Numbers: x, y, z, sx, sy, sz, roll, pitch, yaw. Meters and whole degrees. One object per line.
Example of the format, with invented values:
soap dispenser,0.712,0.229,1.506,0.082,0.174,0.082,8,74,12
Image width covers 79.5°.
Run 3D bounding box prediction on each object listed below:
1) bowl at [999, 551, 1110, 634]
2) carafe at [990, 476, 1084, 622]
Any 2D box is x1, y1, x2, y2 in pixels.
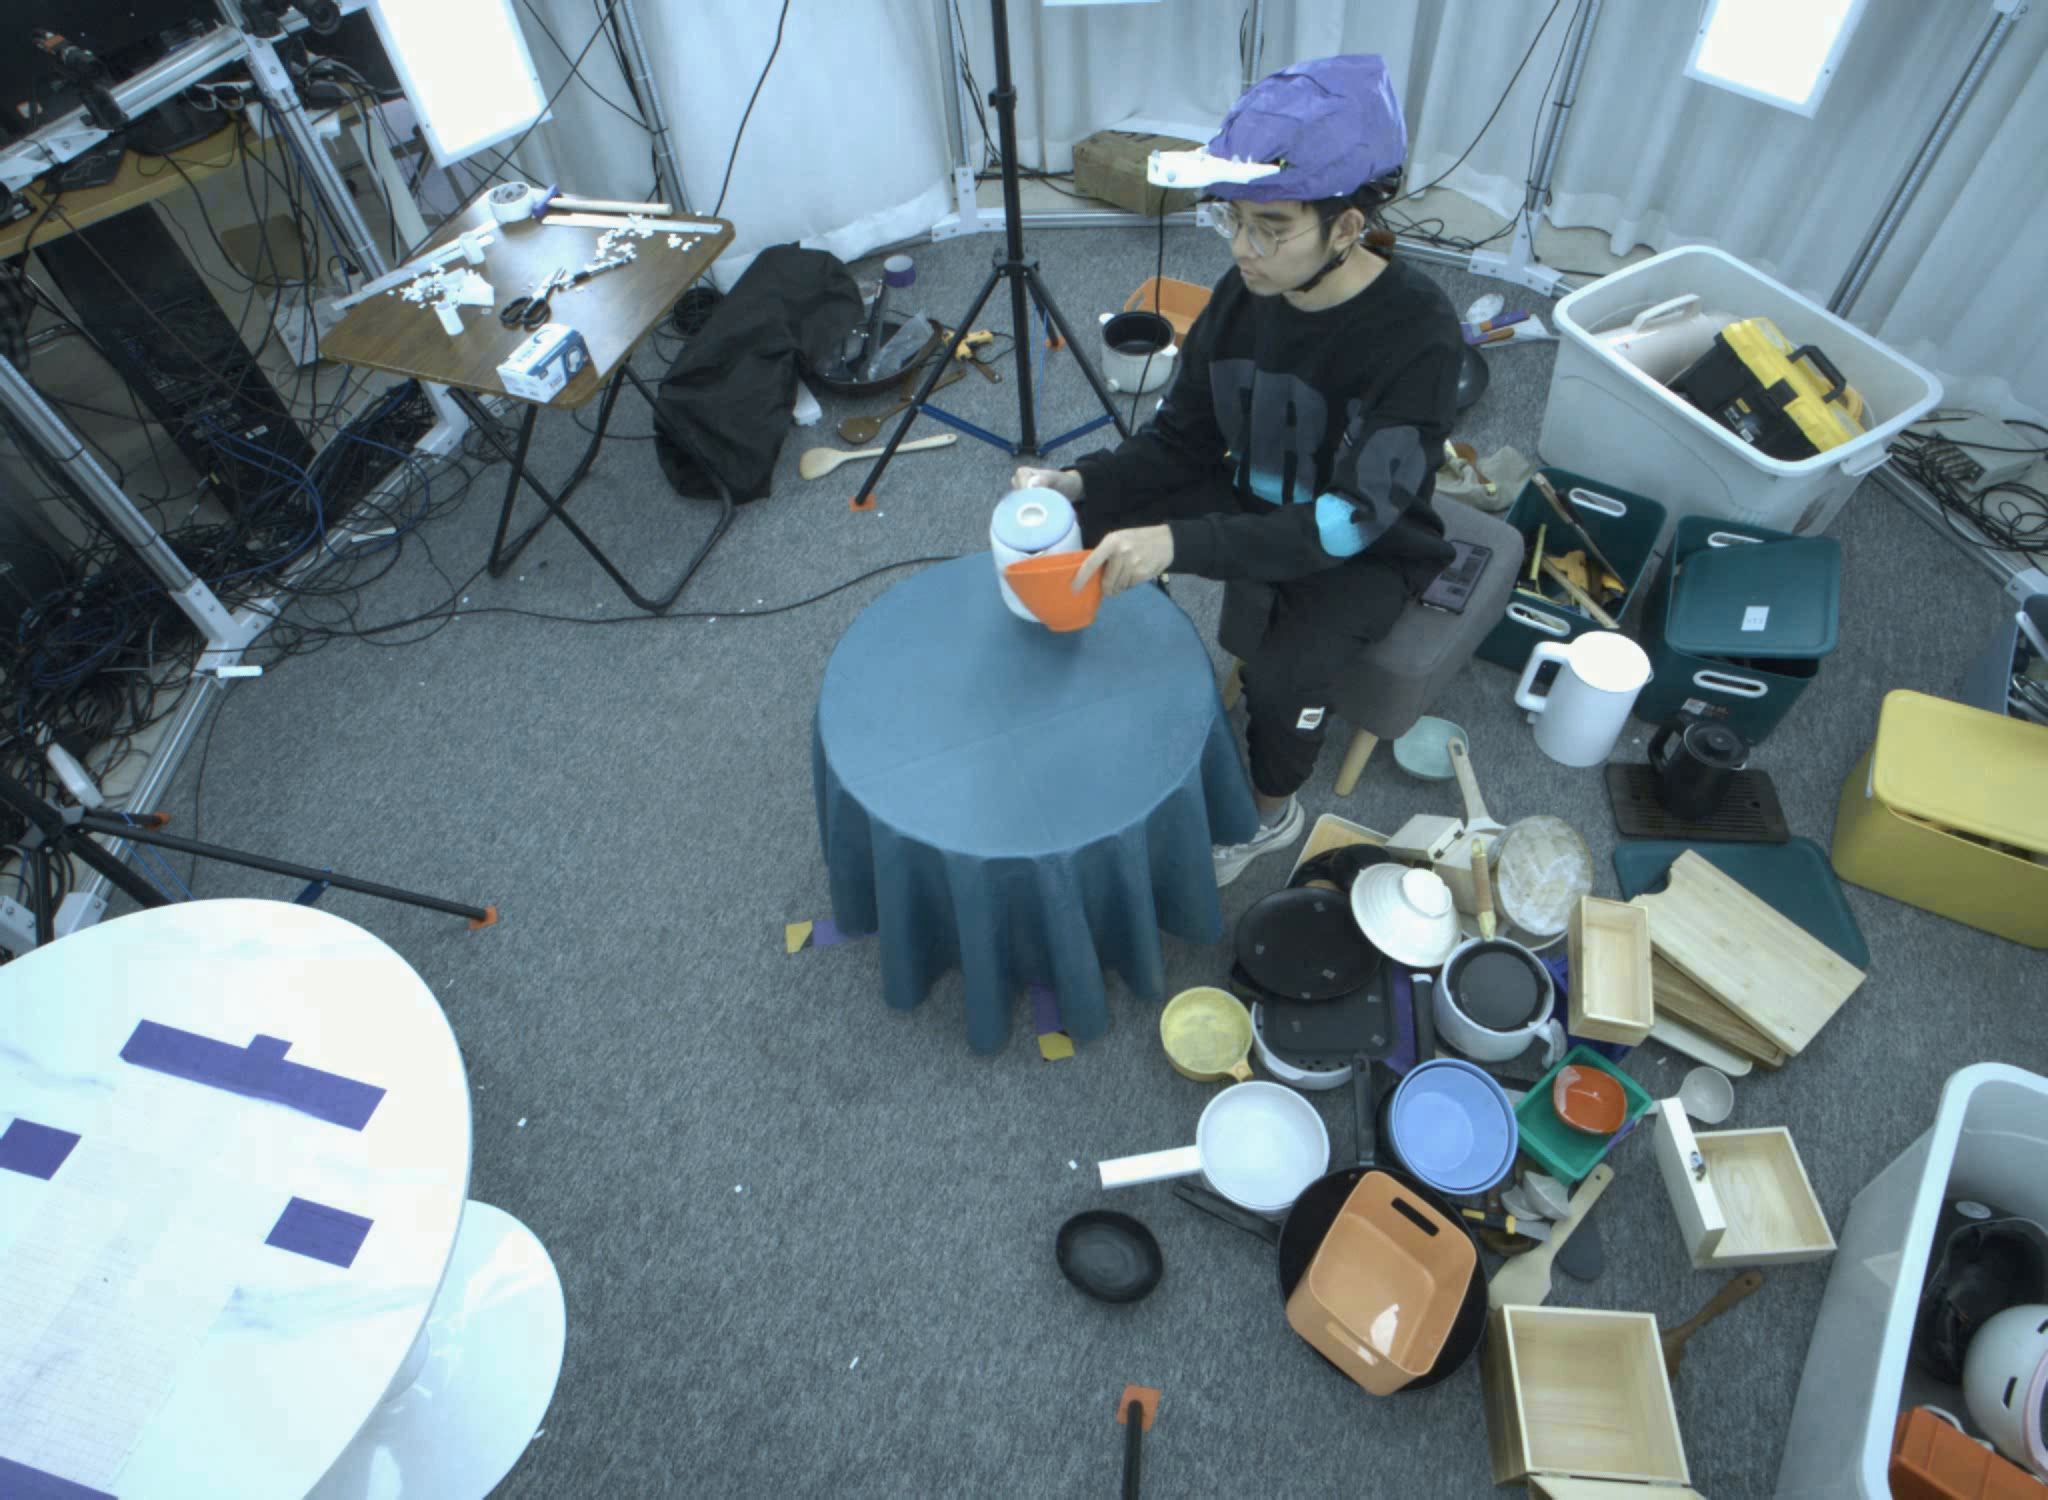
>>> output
bowl,0.049,-0.210,1.639,0.147,0.106,0.147,-10,26,6
carafe,0.022,-0.309,1.825,0.132,0.185,0.189,-5,57,5
